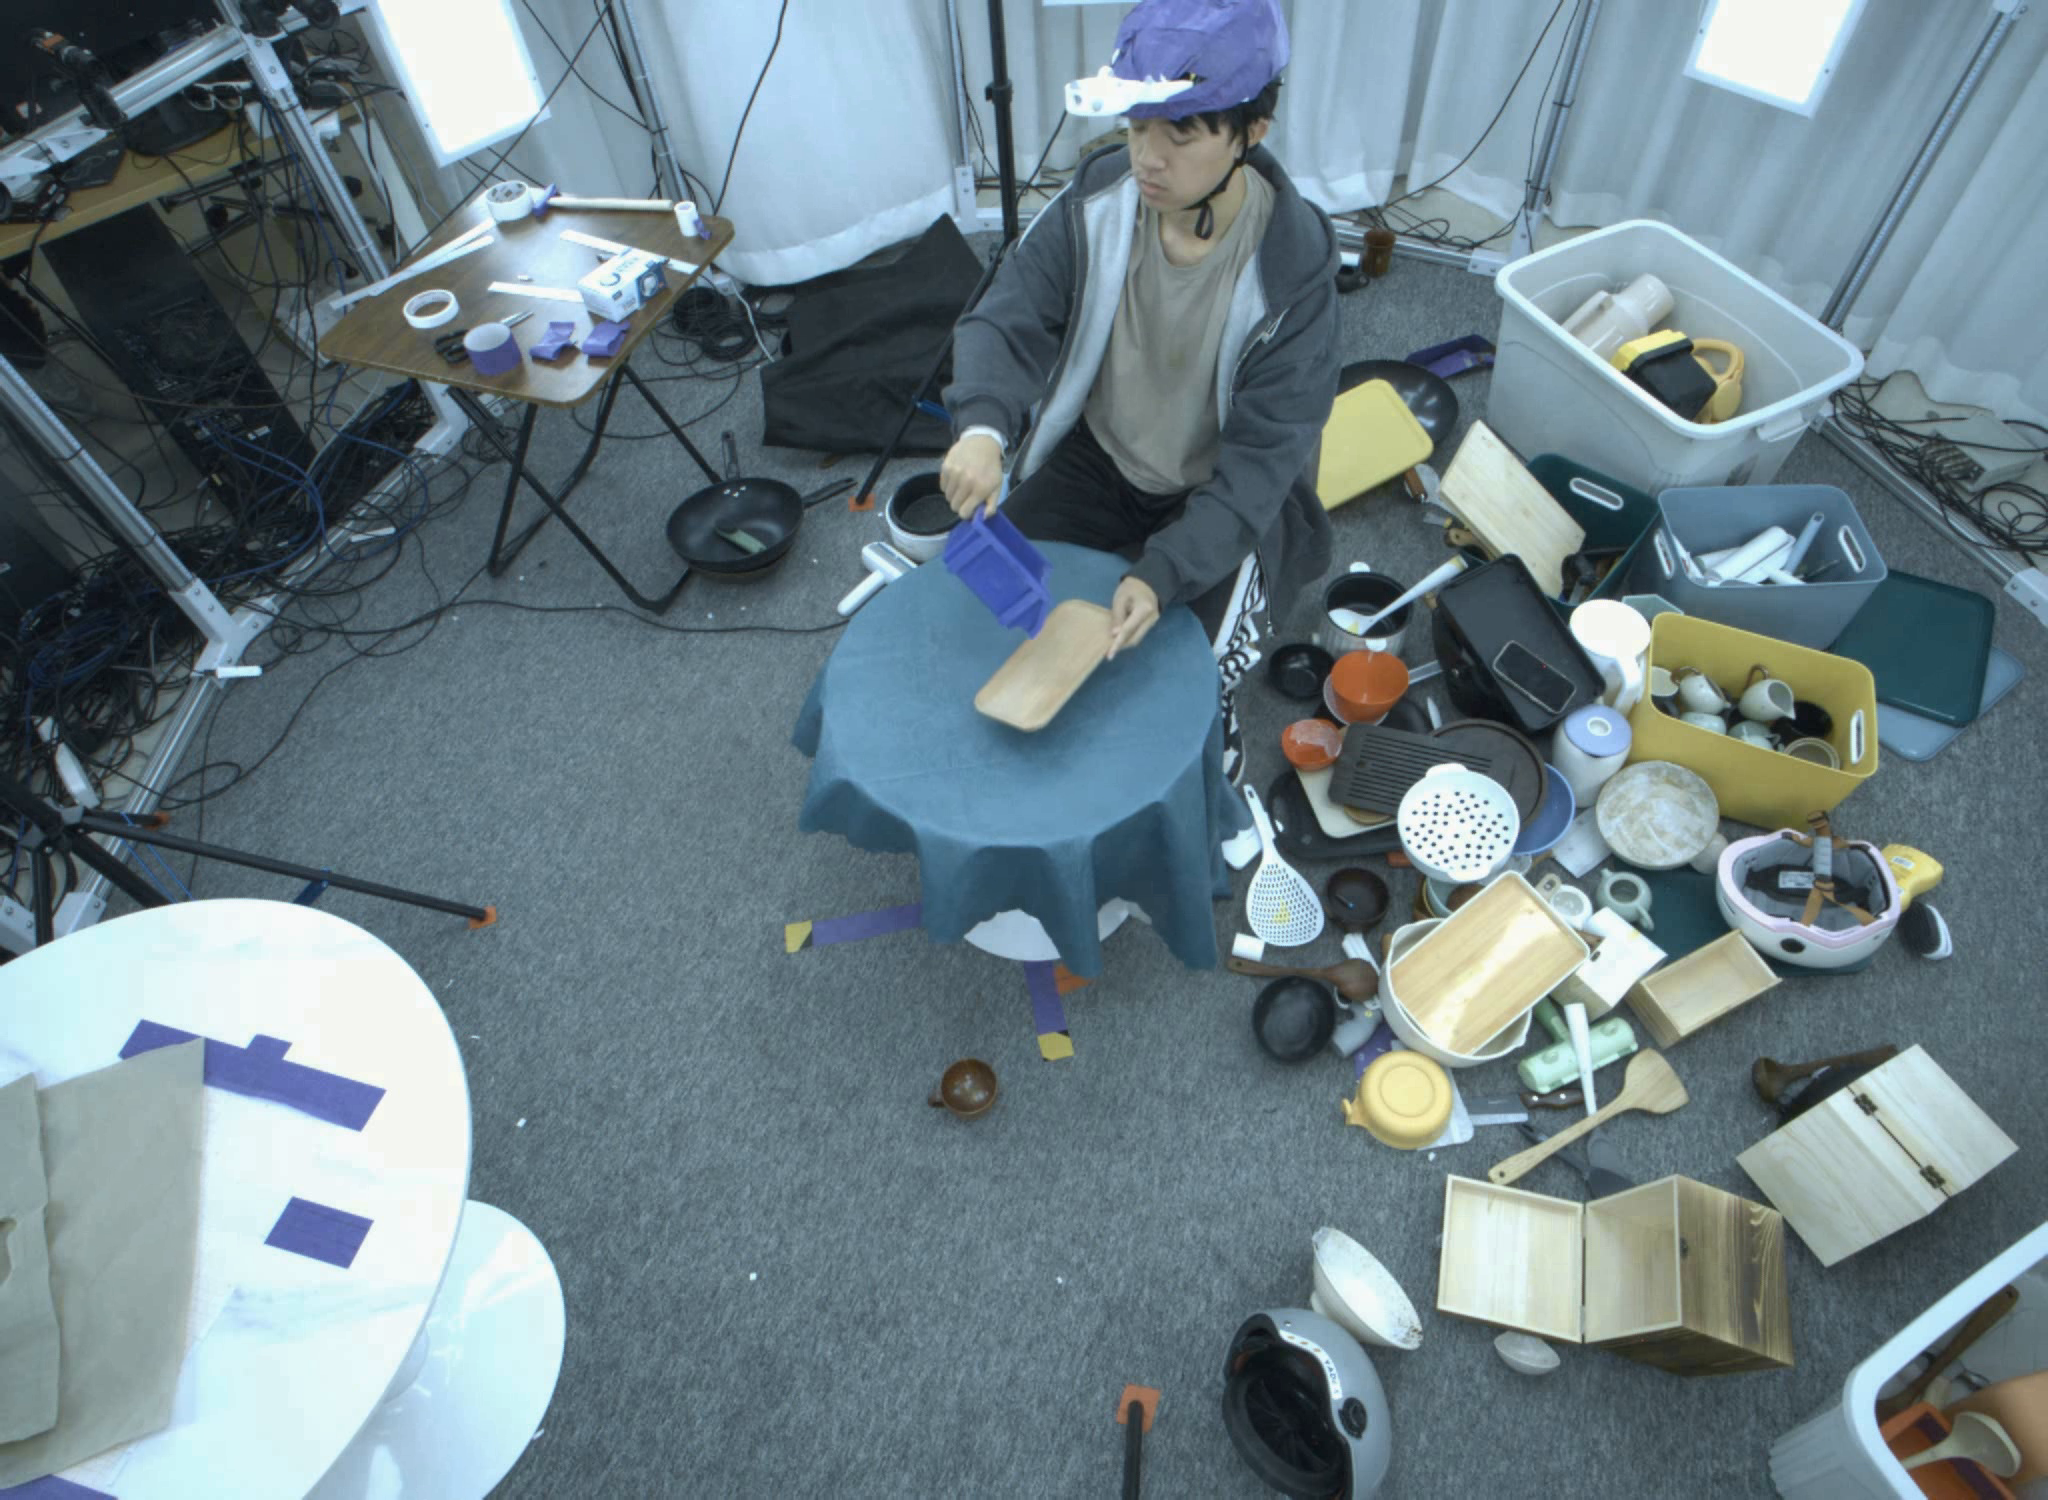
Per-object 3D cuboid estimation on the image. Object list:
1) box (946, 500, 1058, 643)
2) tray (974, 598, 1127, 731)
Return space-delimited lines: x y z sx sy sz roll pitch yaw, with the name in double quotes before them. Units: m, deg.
"box" -0.024 -0.248 1.725 0.081 0.182 0.123 -40 21 22
"tray" 0.040 -0.127 1.798 0.128 0.023 0.252 25 60 29
